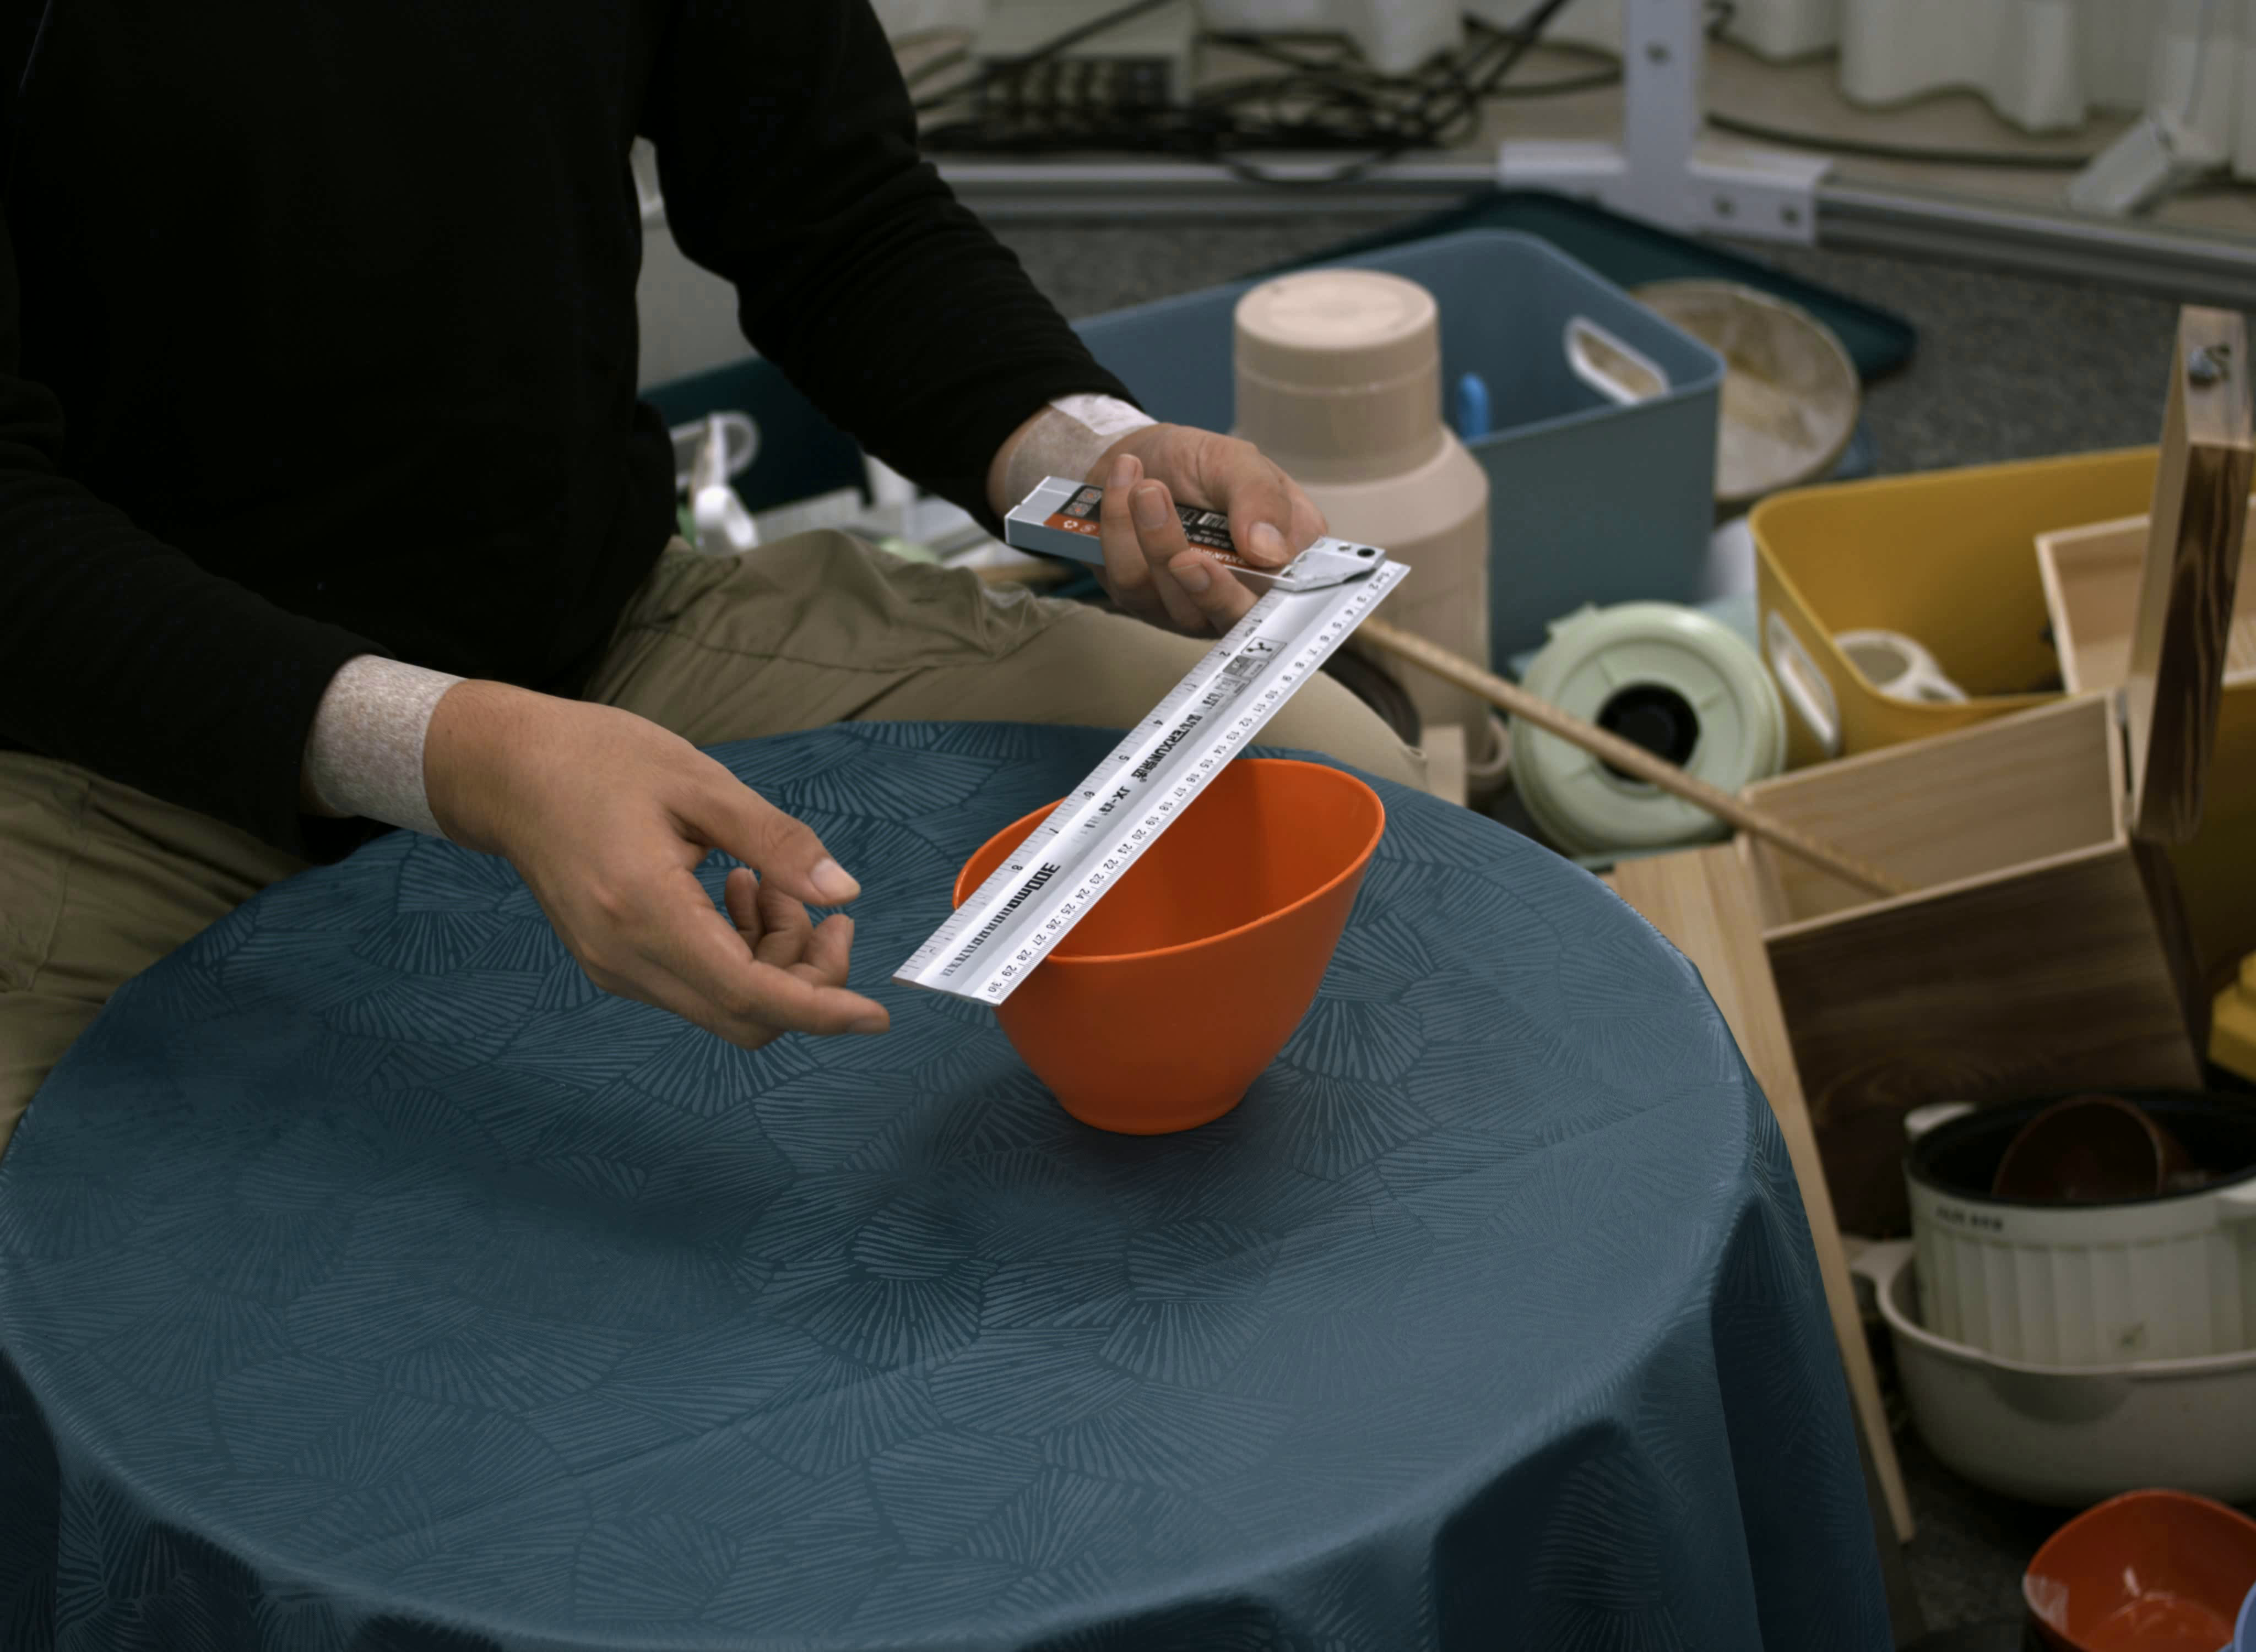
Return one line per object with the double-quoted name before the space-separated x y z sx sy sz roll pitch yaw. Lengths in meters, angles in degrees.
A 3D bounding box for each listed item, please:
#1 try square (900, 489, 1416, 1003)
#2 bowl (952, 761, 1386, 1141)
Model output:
"try square" -0.032 -0.033 1.950 0.151 0.015 0.318 11 34 26
"bowl" 0.016 0.047 1.895 0.147 0.103 0.150 -3 28 2
